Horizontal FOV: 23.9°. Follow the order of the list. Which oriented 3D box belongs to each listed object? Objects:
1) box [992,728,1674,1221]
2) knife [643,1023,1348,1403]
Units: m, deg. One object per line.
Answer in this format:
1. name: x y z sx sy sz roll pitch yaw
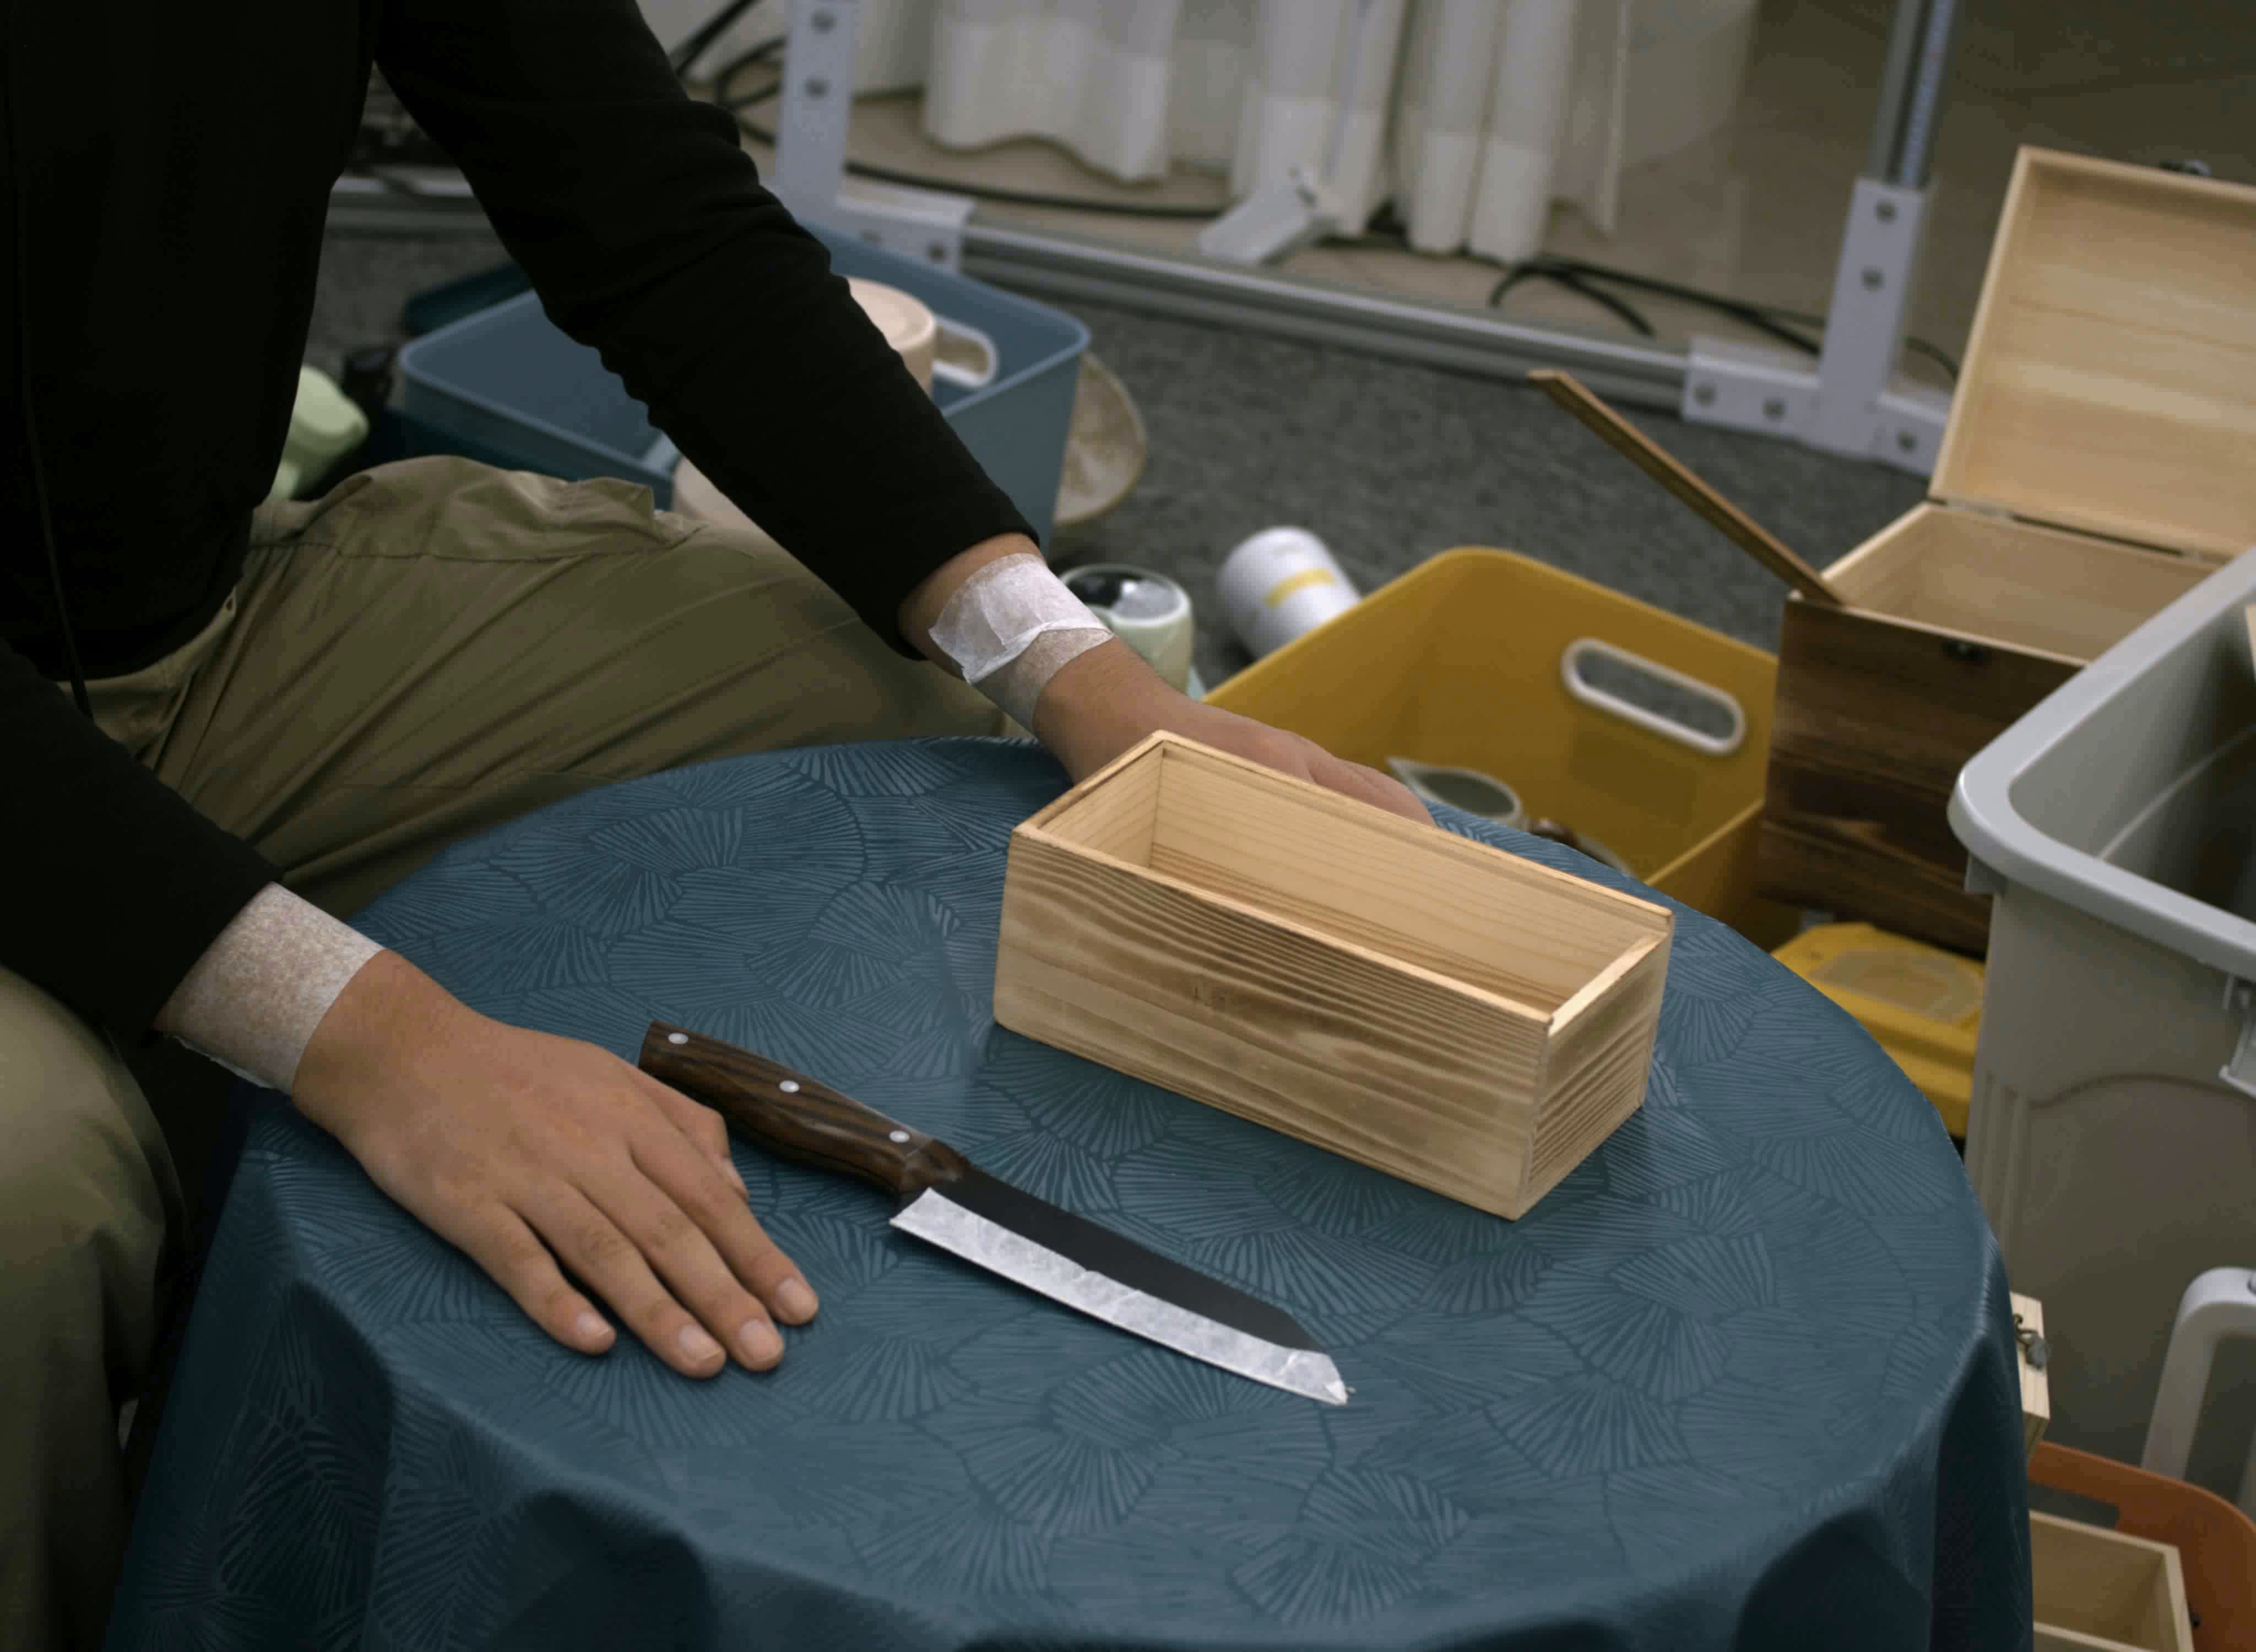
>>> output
1. box: 0.071 0.049 1.876 0.212 0.080 0.107 20 29 24
2. knife: -0.048 0.129 1.764 0.291 0.020 0.050 24 36 26
